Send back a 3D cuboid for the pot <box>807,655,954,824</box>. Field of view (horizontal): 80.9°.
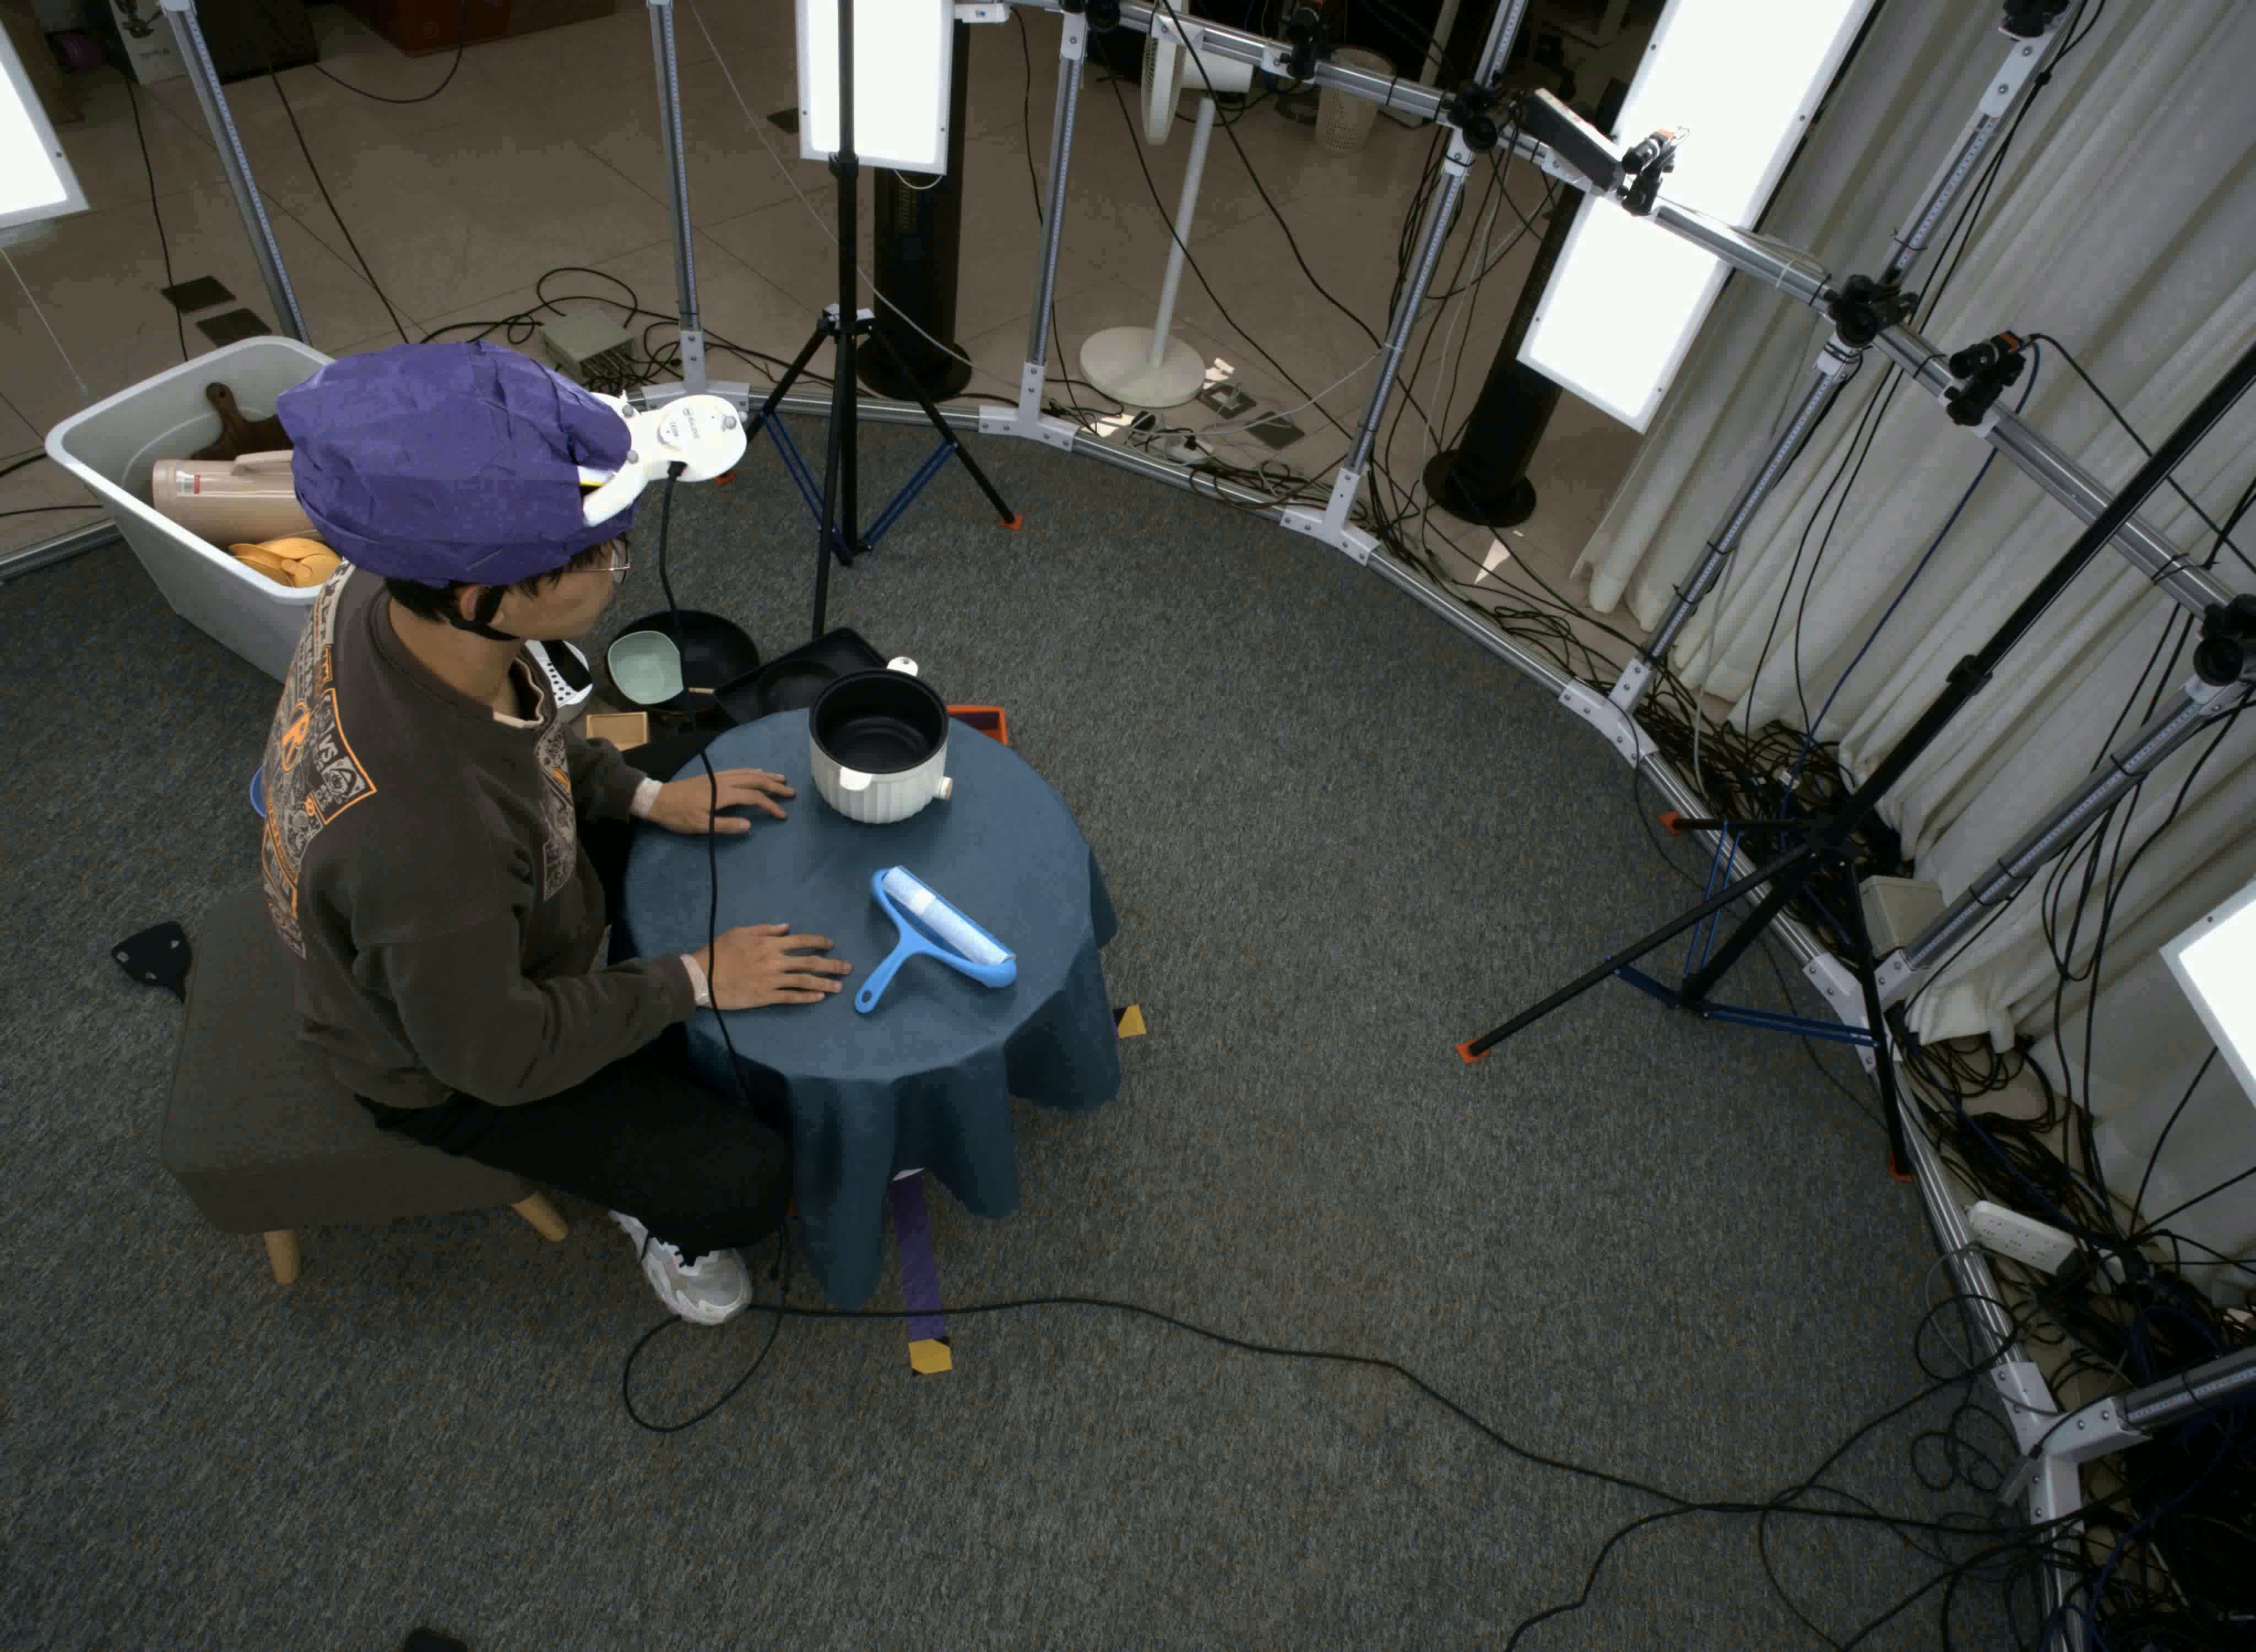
[{"bbox_3d":[-0.330,-0.100,1.746,0.188,0.146,0.237,12,53,1],"label":"pot"}]

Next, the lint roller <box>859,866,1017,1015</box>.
[{"bbox_3d":[-0.266,0.159,1.624,0.225,0.069,0.180,35,53,11],"label":"lint roller"}]
